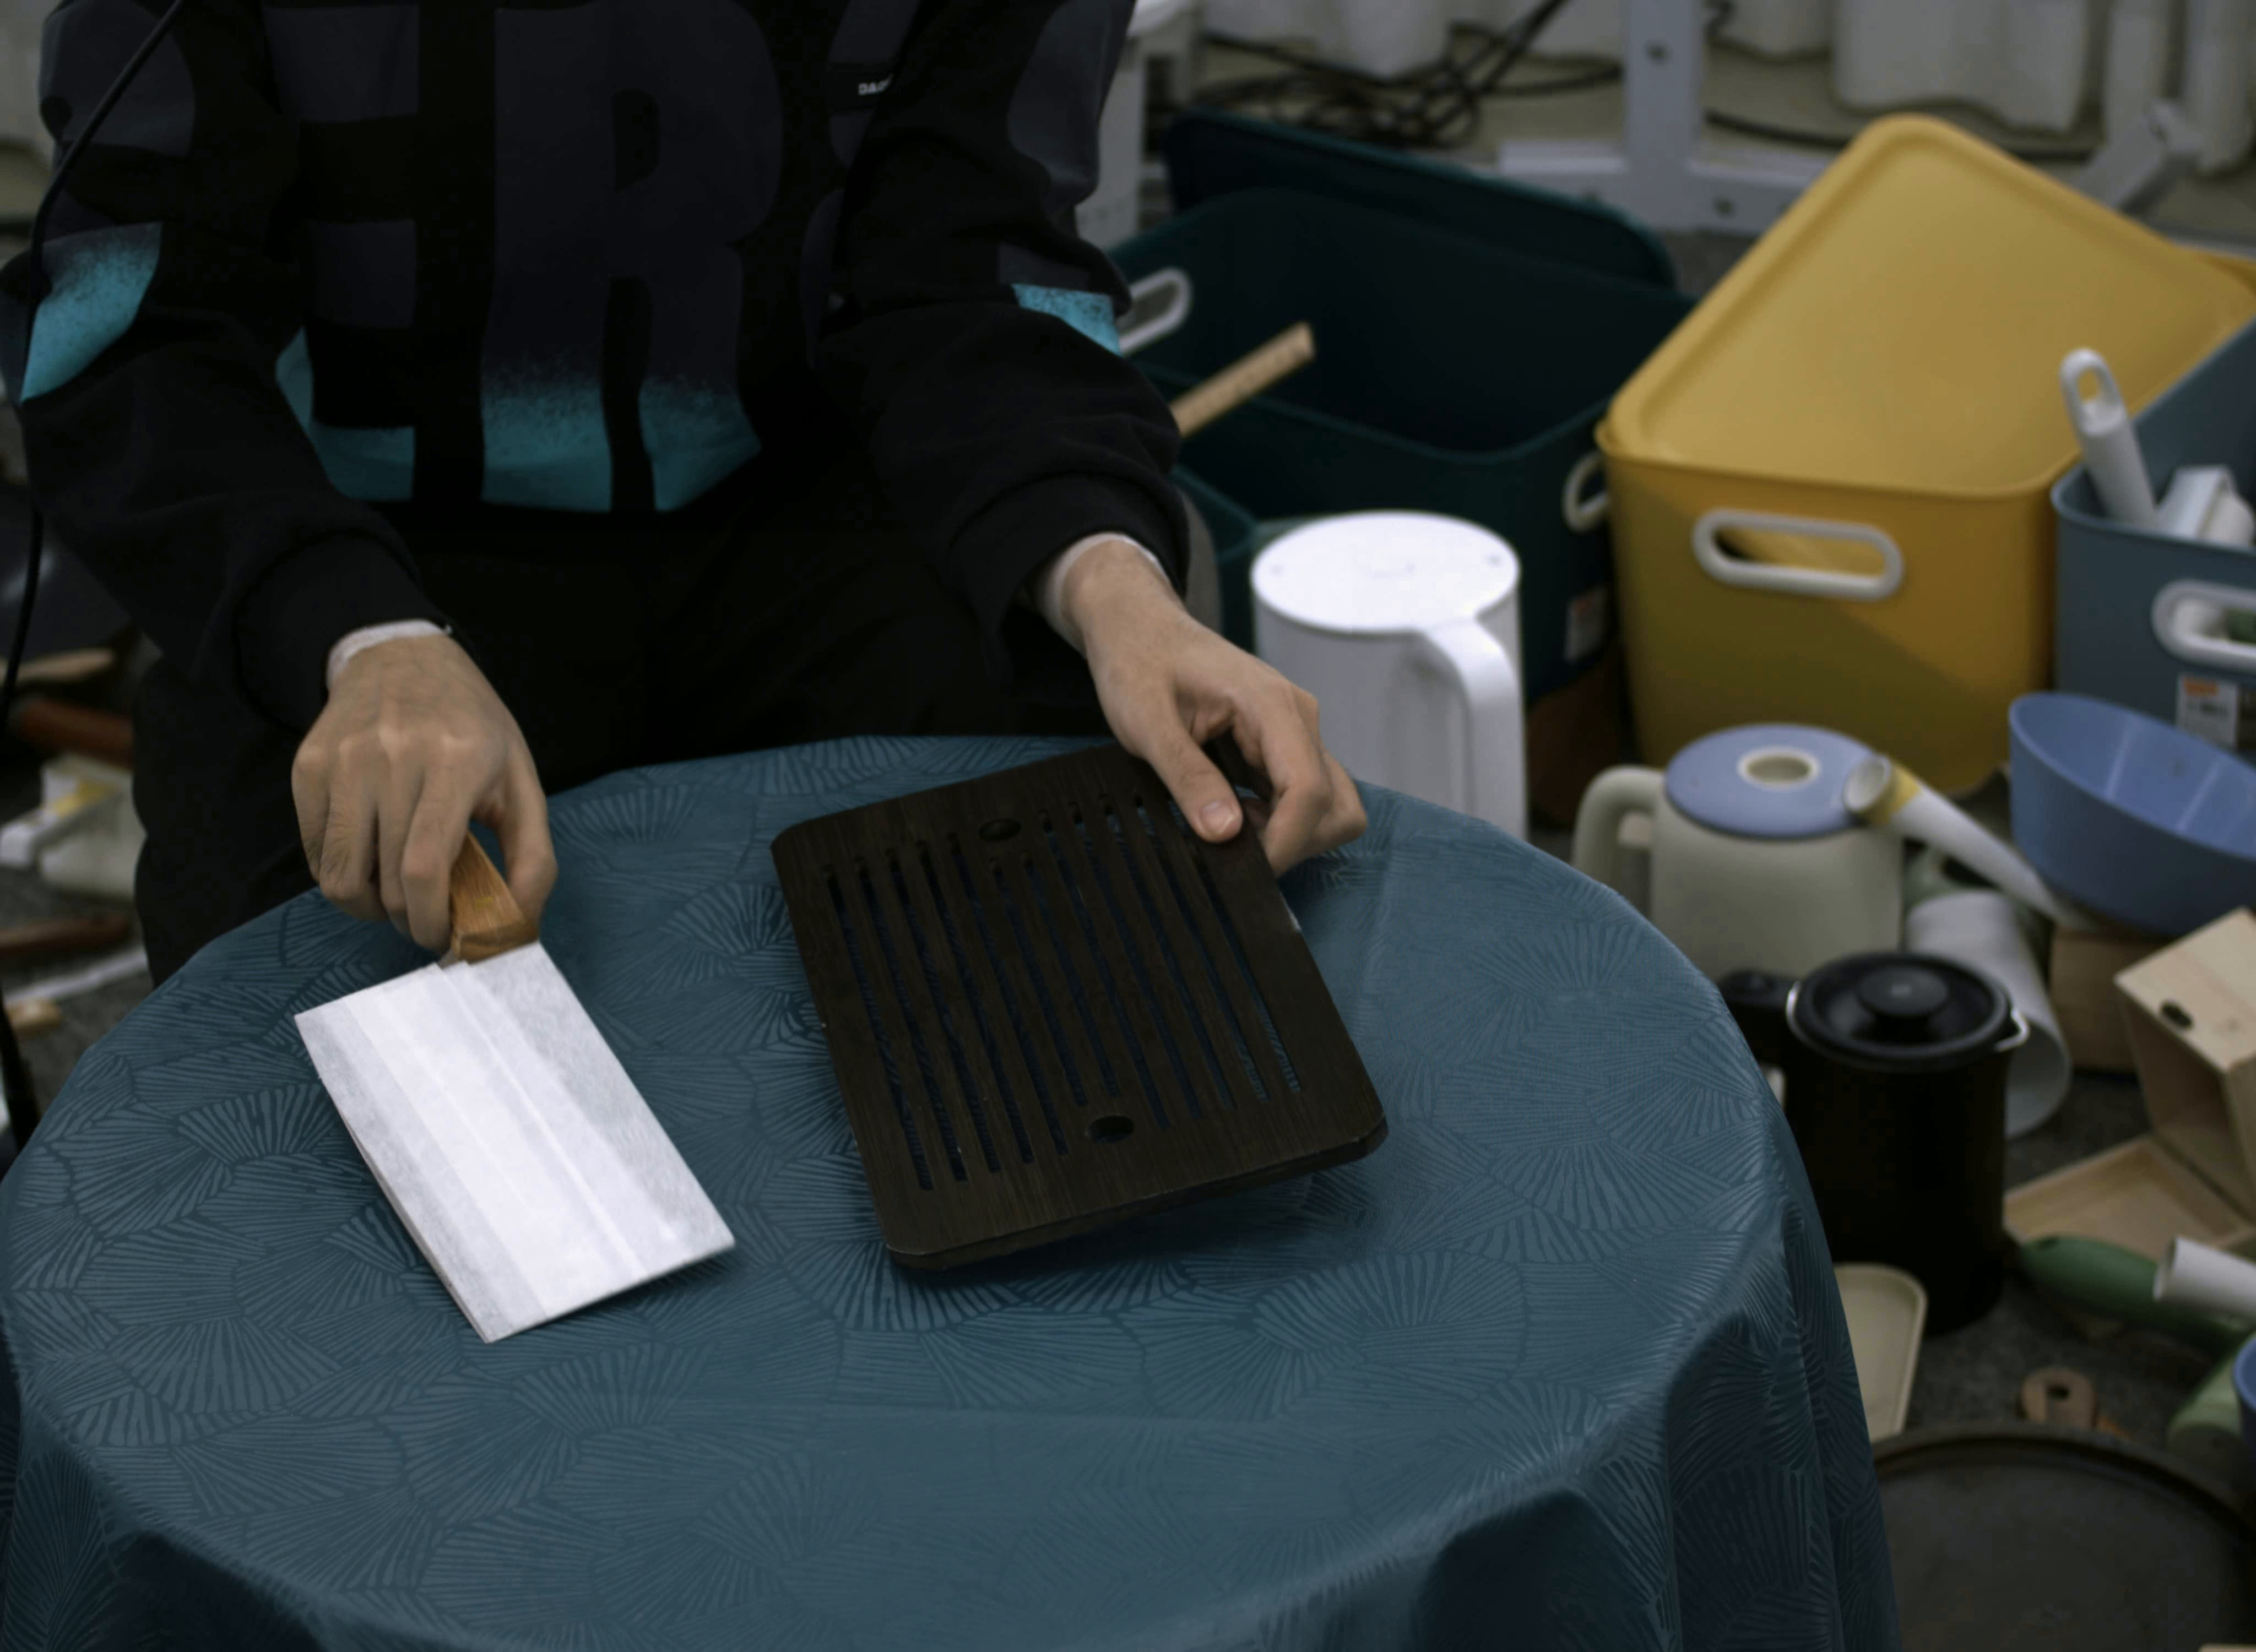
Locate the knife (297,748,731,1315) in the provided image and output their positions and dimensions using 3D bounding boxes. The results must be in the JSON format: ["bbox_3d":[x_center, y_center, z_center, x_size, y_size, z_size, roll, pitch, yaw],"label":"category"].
[{"bbox_3d":[-0.231,0.070,1.923,0.093,0.021,0.308,-22,40,-15],"label":"knife"}]

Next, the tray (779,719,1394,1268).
[{"bbox_3d":[-0.020,0.055,1.949,0.170,0.018,0.309,-15,29,-4],"label":"tray"}]
